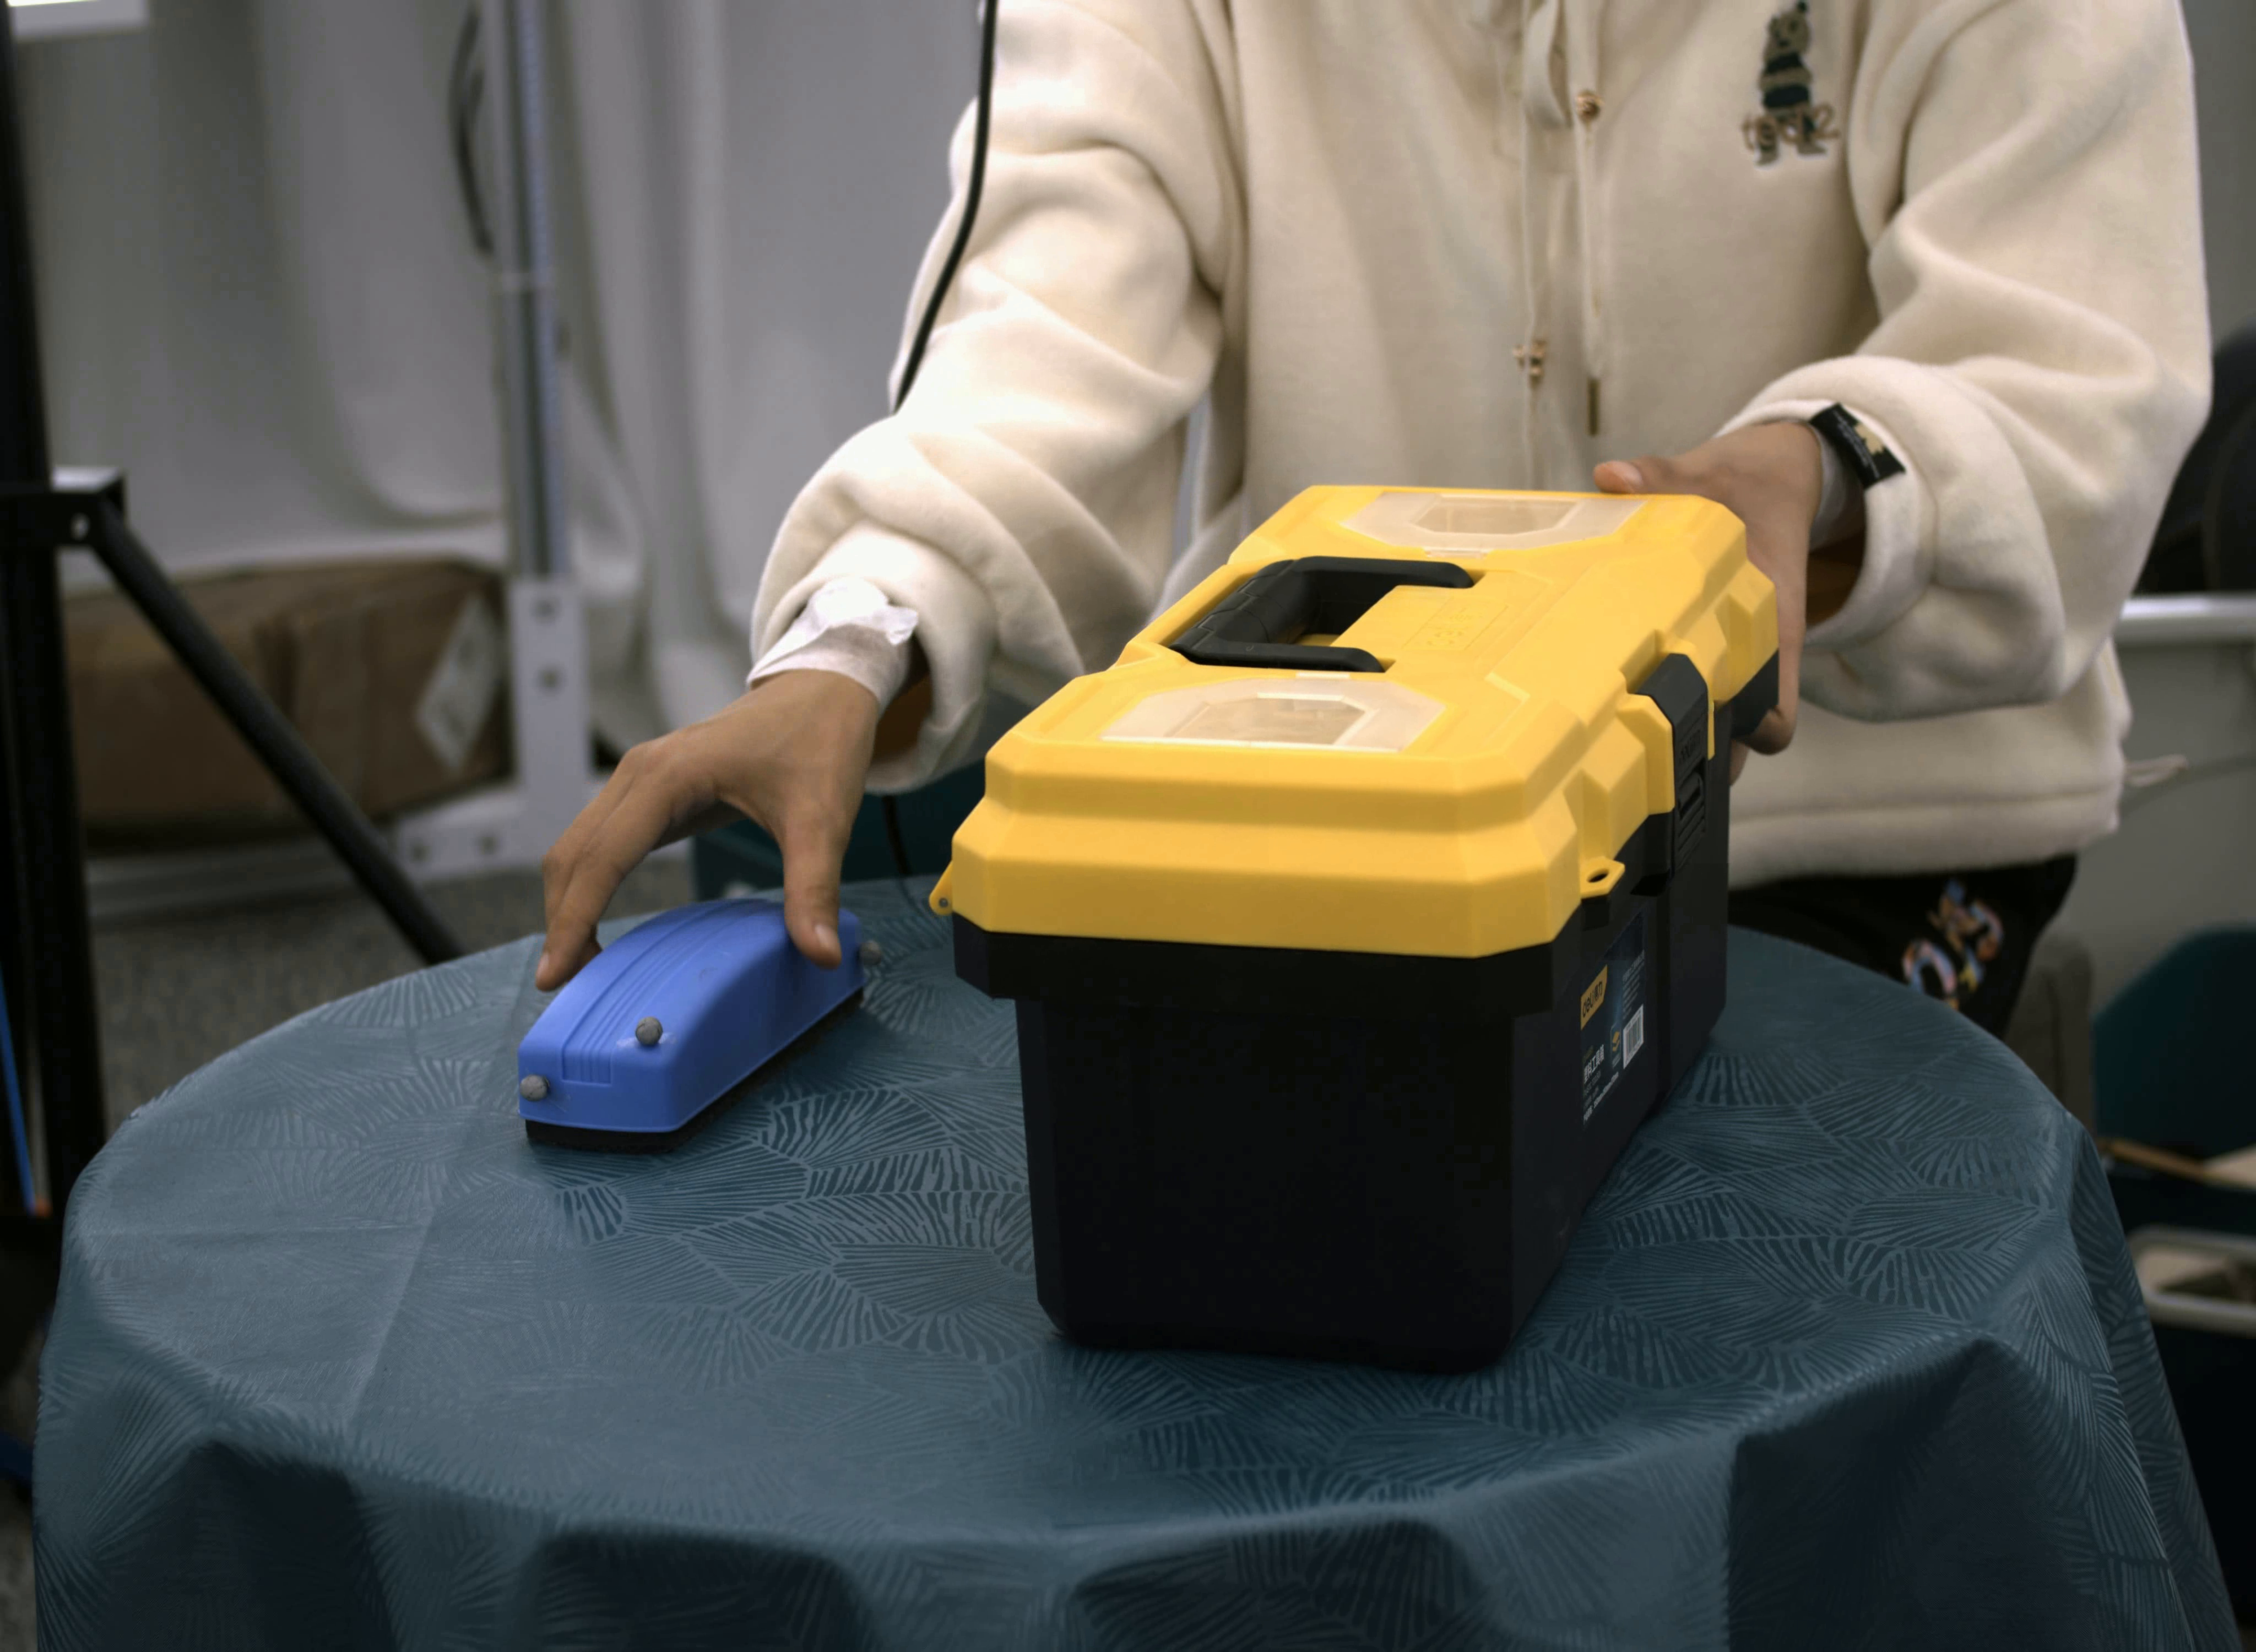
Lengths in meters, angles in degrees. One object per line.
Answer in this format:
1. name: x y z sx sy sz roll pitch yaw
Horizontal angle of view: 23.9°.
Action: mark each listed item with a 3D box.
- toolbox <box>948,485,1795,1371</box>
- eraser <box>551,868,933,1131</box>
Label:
1. toolbox: 0.080 0.020 1.538 0.183 0.173 0.348 2 16 18
2. eraser: -0.121 0.048 1.678 0.055 0.047 0.160 -3 16 29
